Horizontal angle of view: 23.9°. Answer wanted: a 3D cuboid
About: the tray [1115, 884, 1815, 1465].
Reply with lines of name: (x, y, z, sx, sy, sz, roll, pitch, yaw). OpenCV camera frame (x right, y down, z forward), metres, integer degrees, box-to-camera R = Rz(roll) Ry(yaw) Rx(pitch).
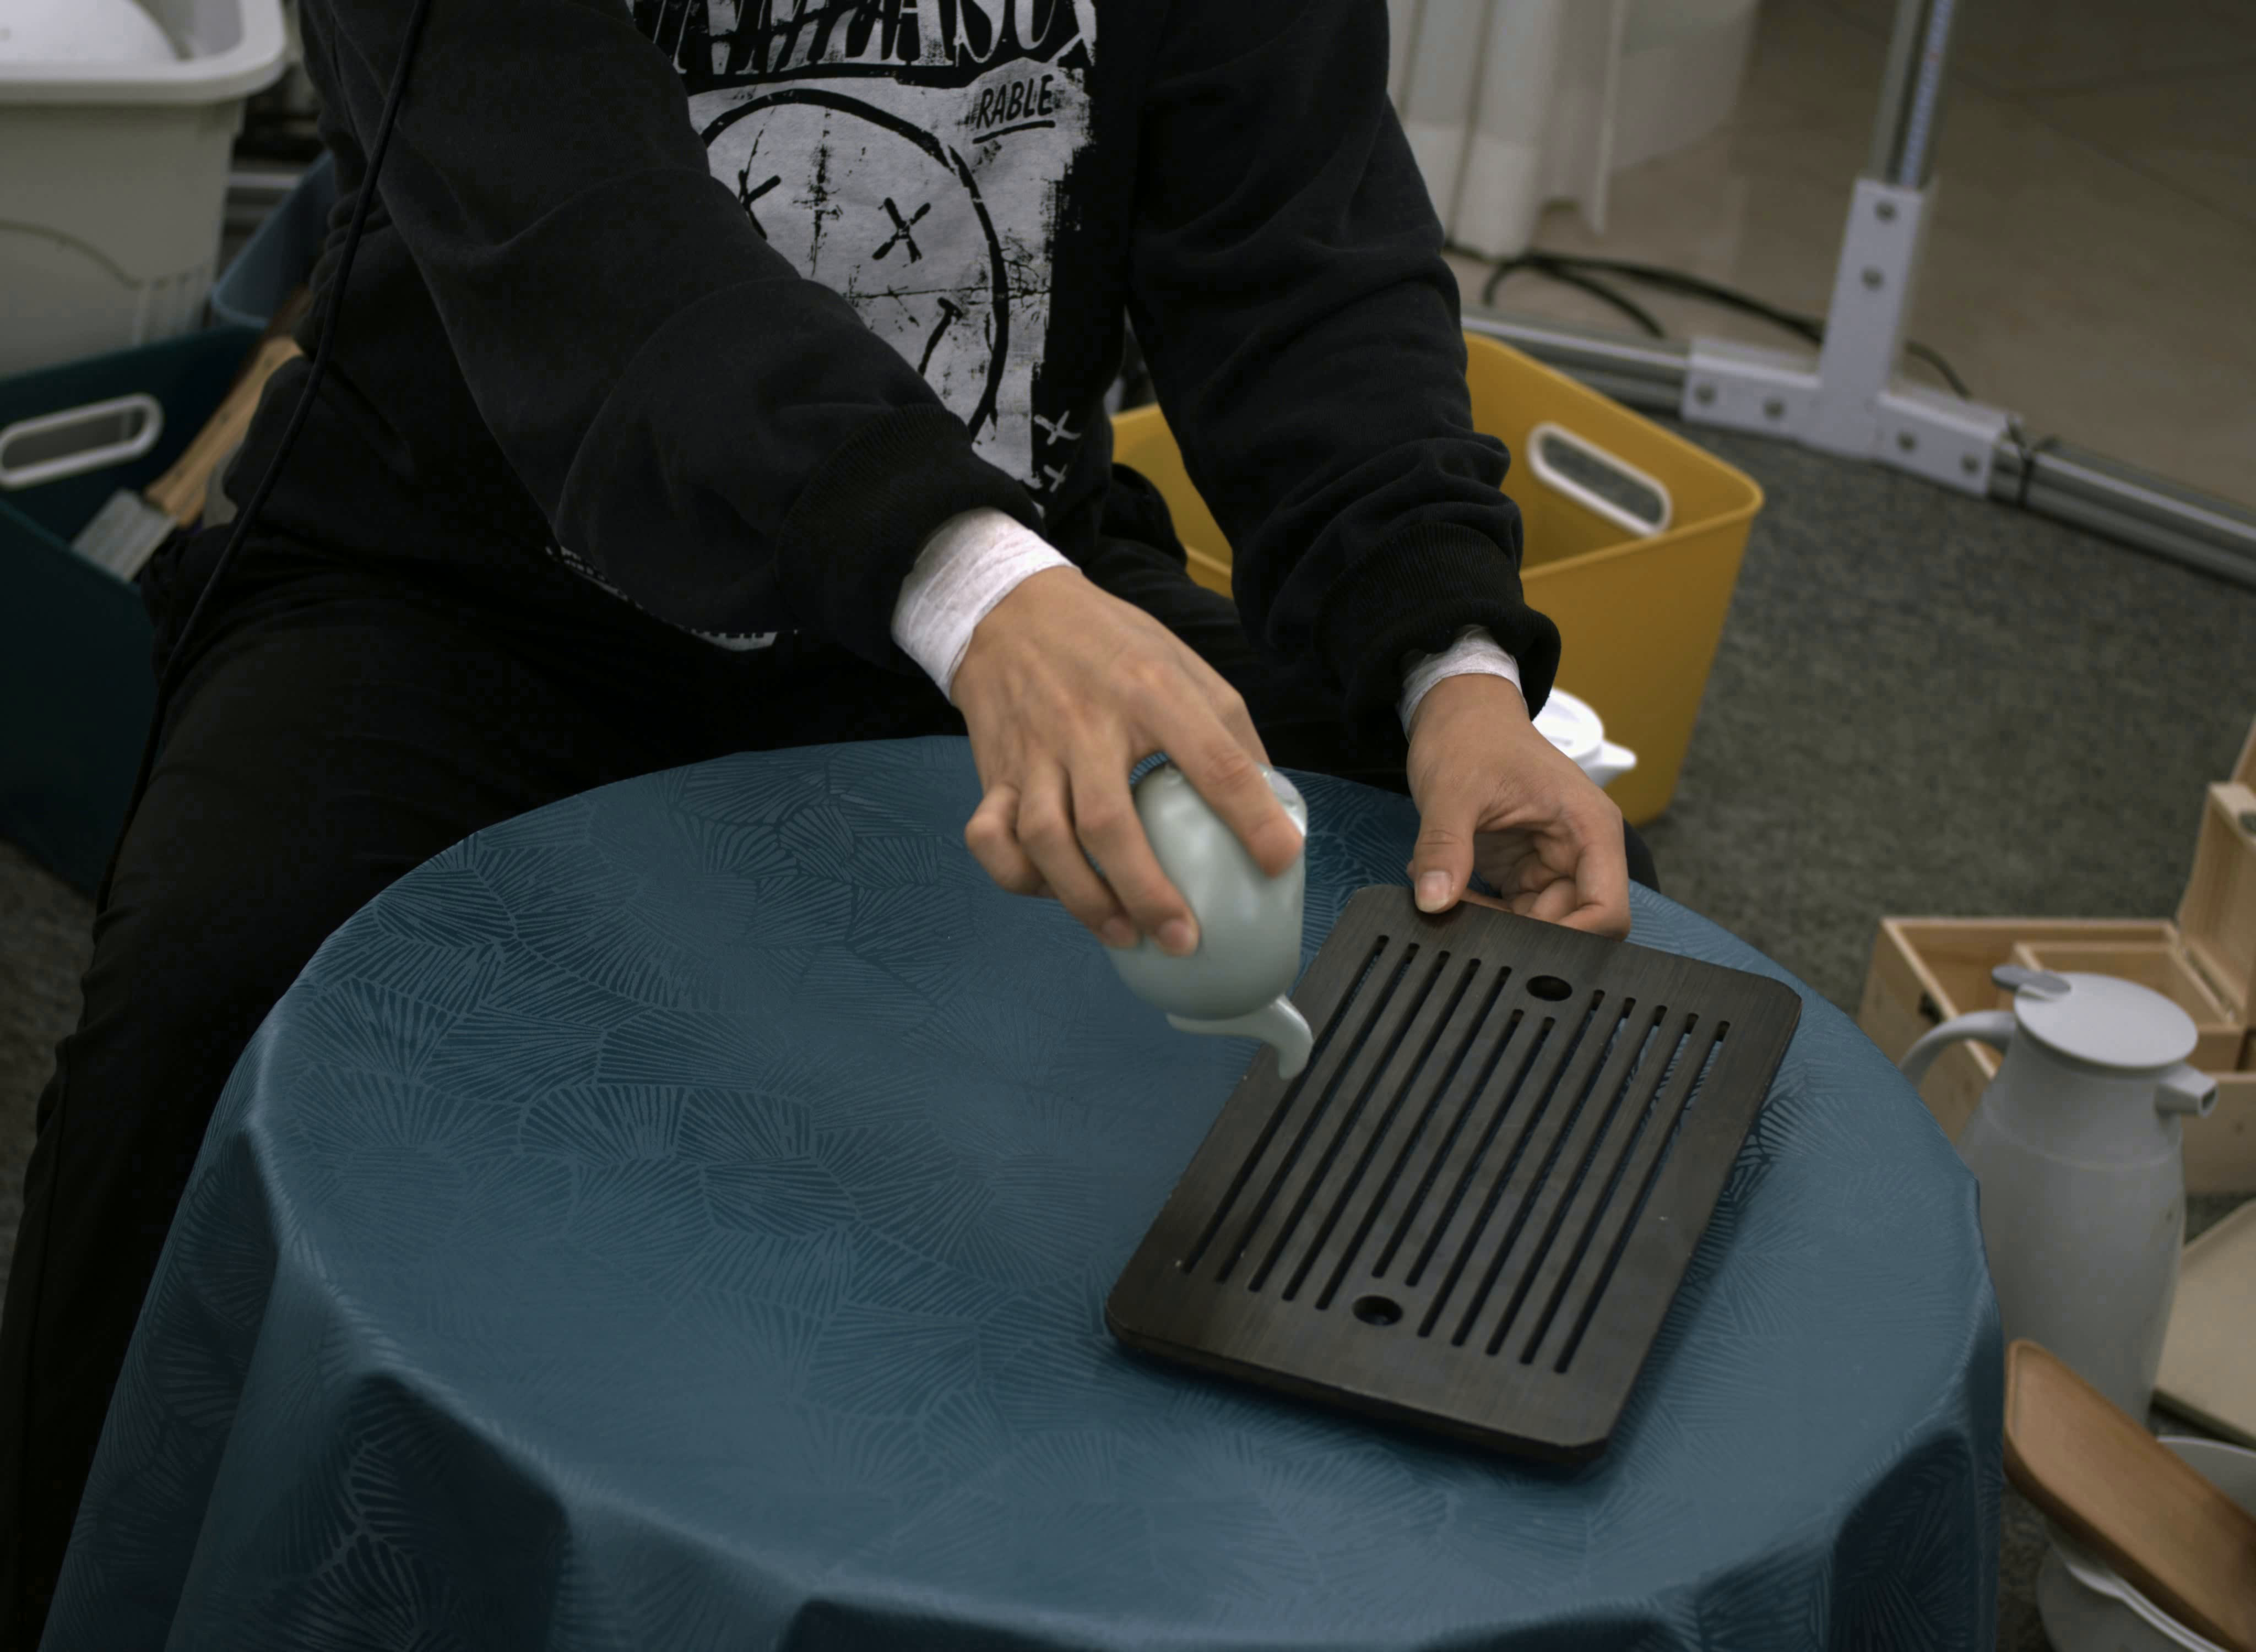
tray: (0.120, 0.115, 1.810, 0.170, 0.018, 0.306, 14, 31, 14)

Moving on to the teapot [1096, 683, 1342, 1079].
teapot: (0.027, 0.018, 1.745, 0.074, 0.143, 0.089, 5, 26, -1)
